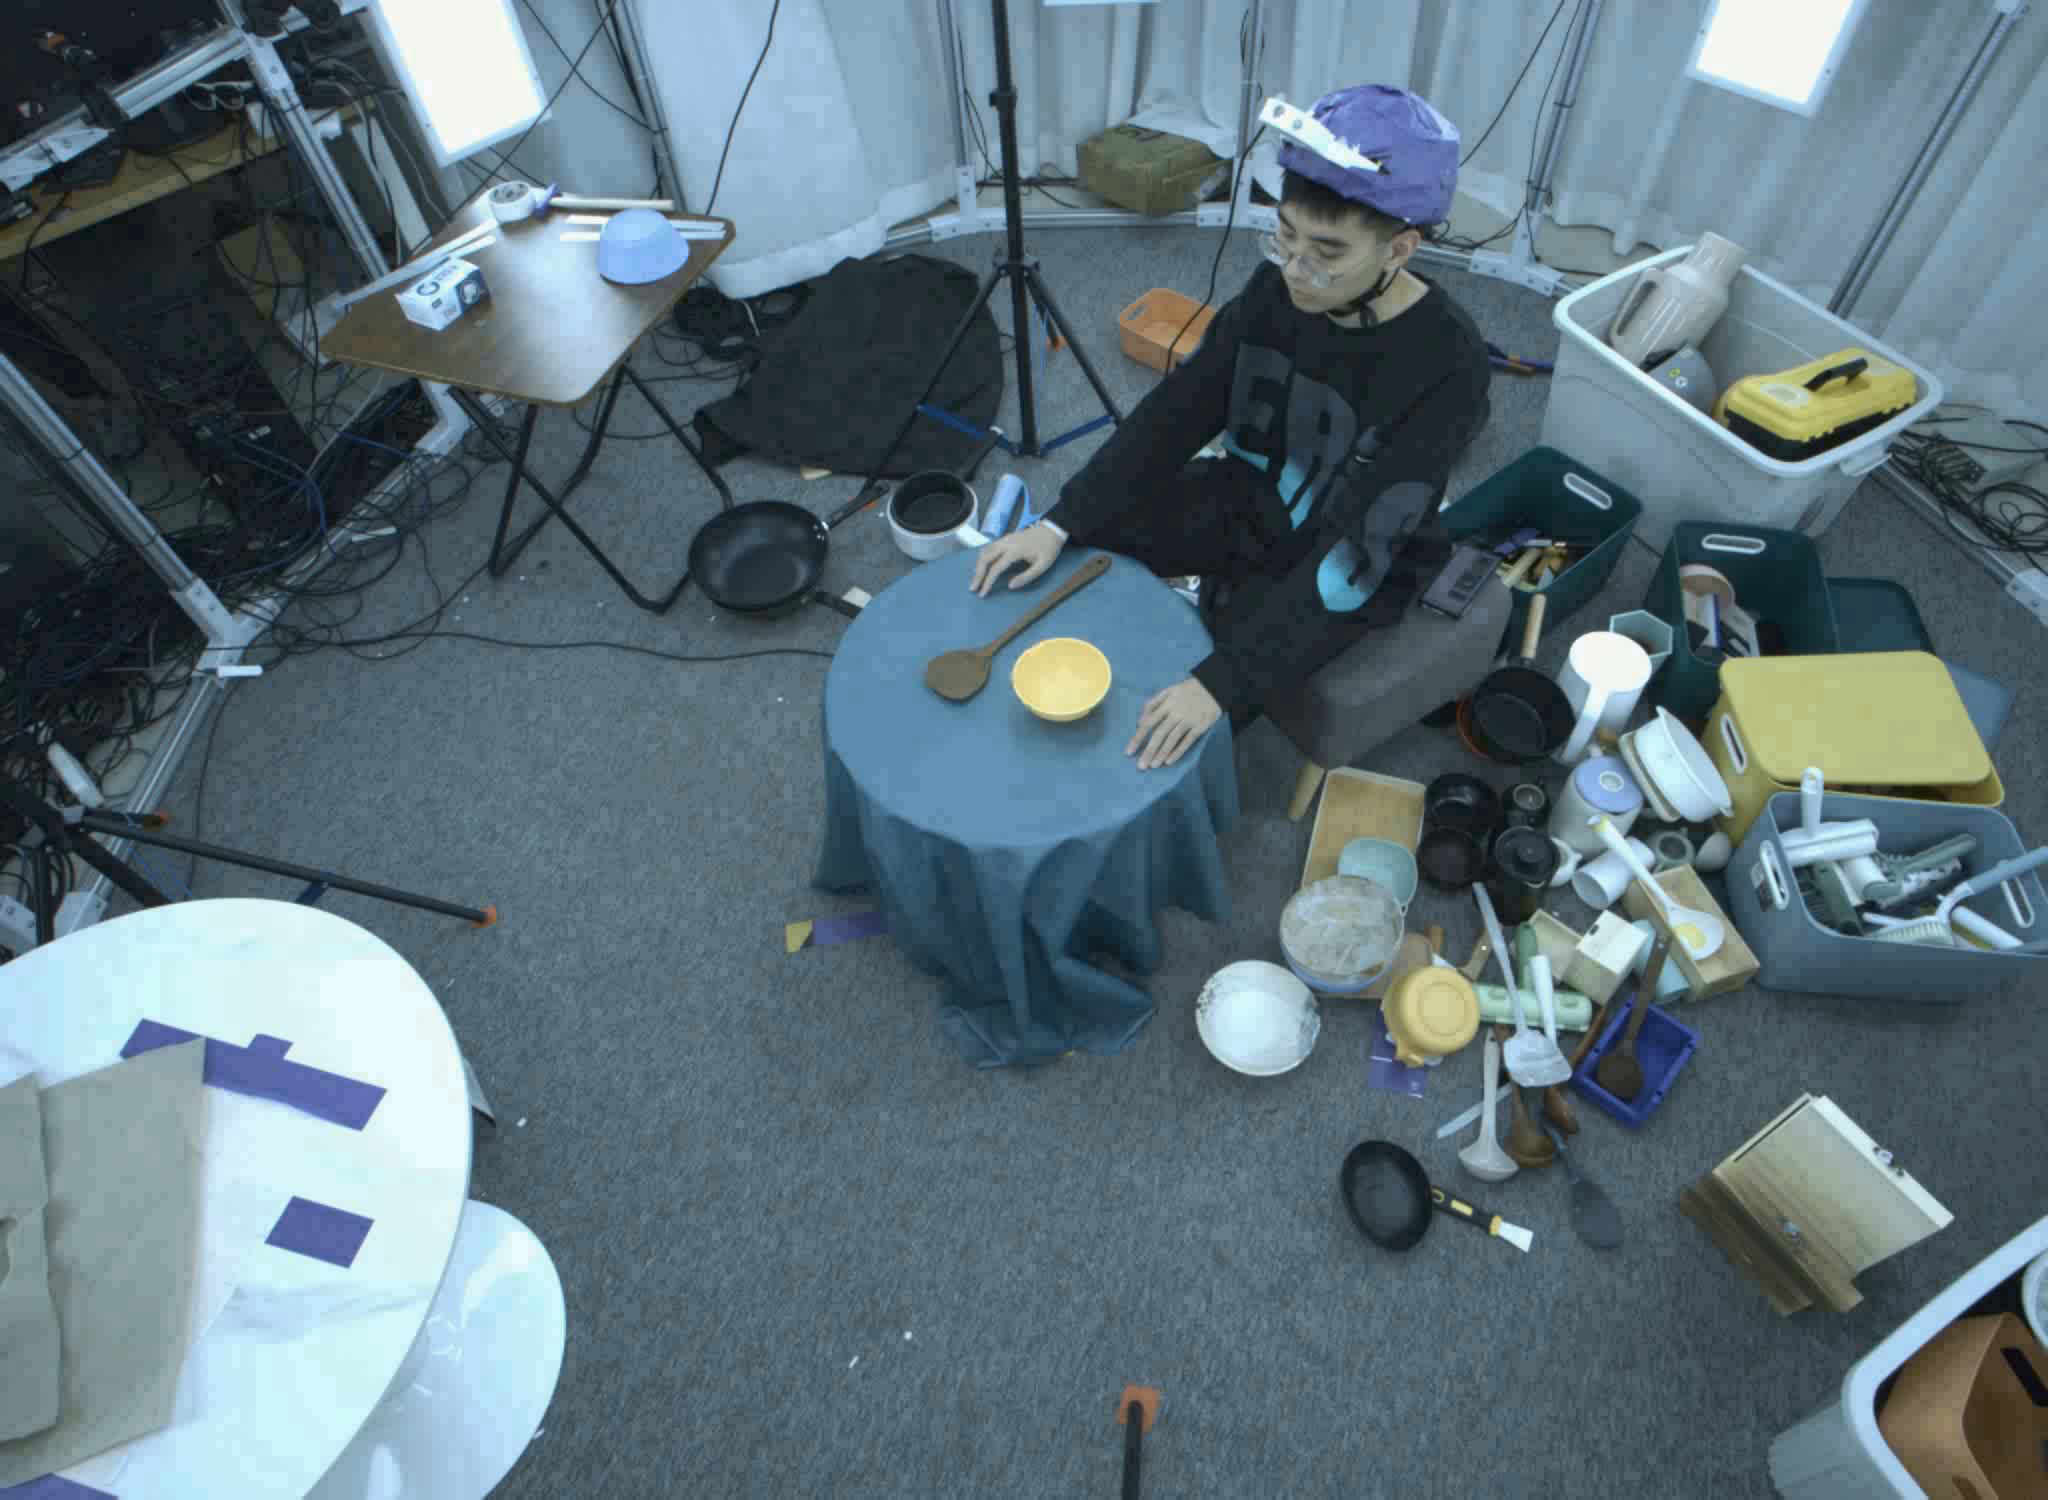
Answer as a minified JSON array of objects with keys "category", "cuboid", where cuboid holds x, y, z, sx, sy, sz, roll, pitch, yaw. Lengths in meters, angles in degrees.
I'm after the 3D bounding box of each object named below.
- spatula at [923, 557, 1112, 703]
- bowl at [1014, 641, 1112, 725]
[{"category":"spatula","cuboid":[0.004,-0.200,1.930,0.094,0.016,0.388,38,64,24]},{"category":"bowl","cuboid":[0.057,-0.088,1.825,0.145,0.060,0.144,1,56,0]}]
